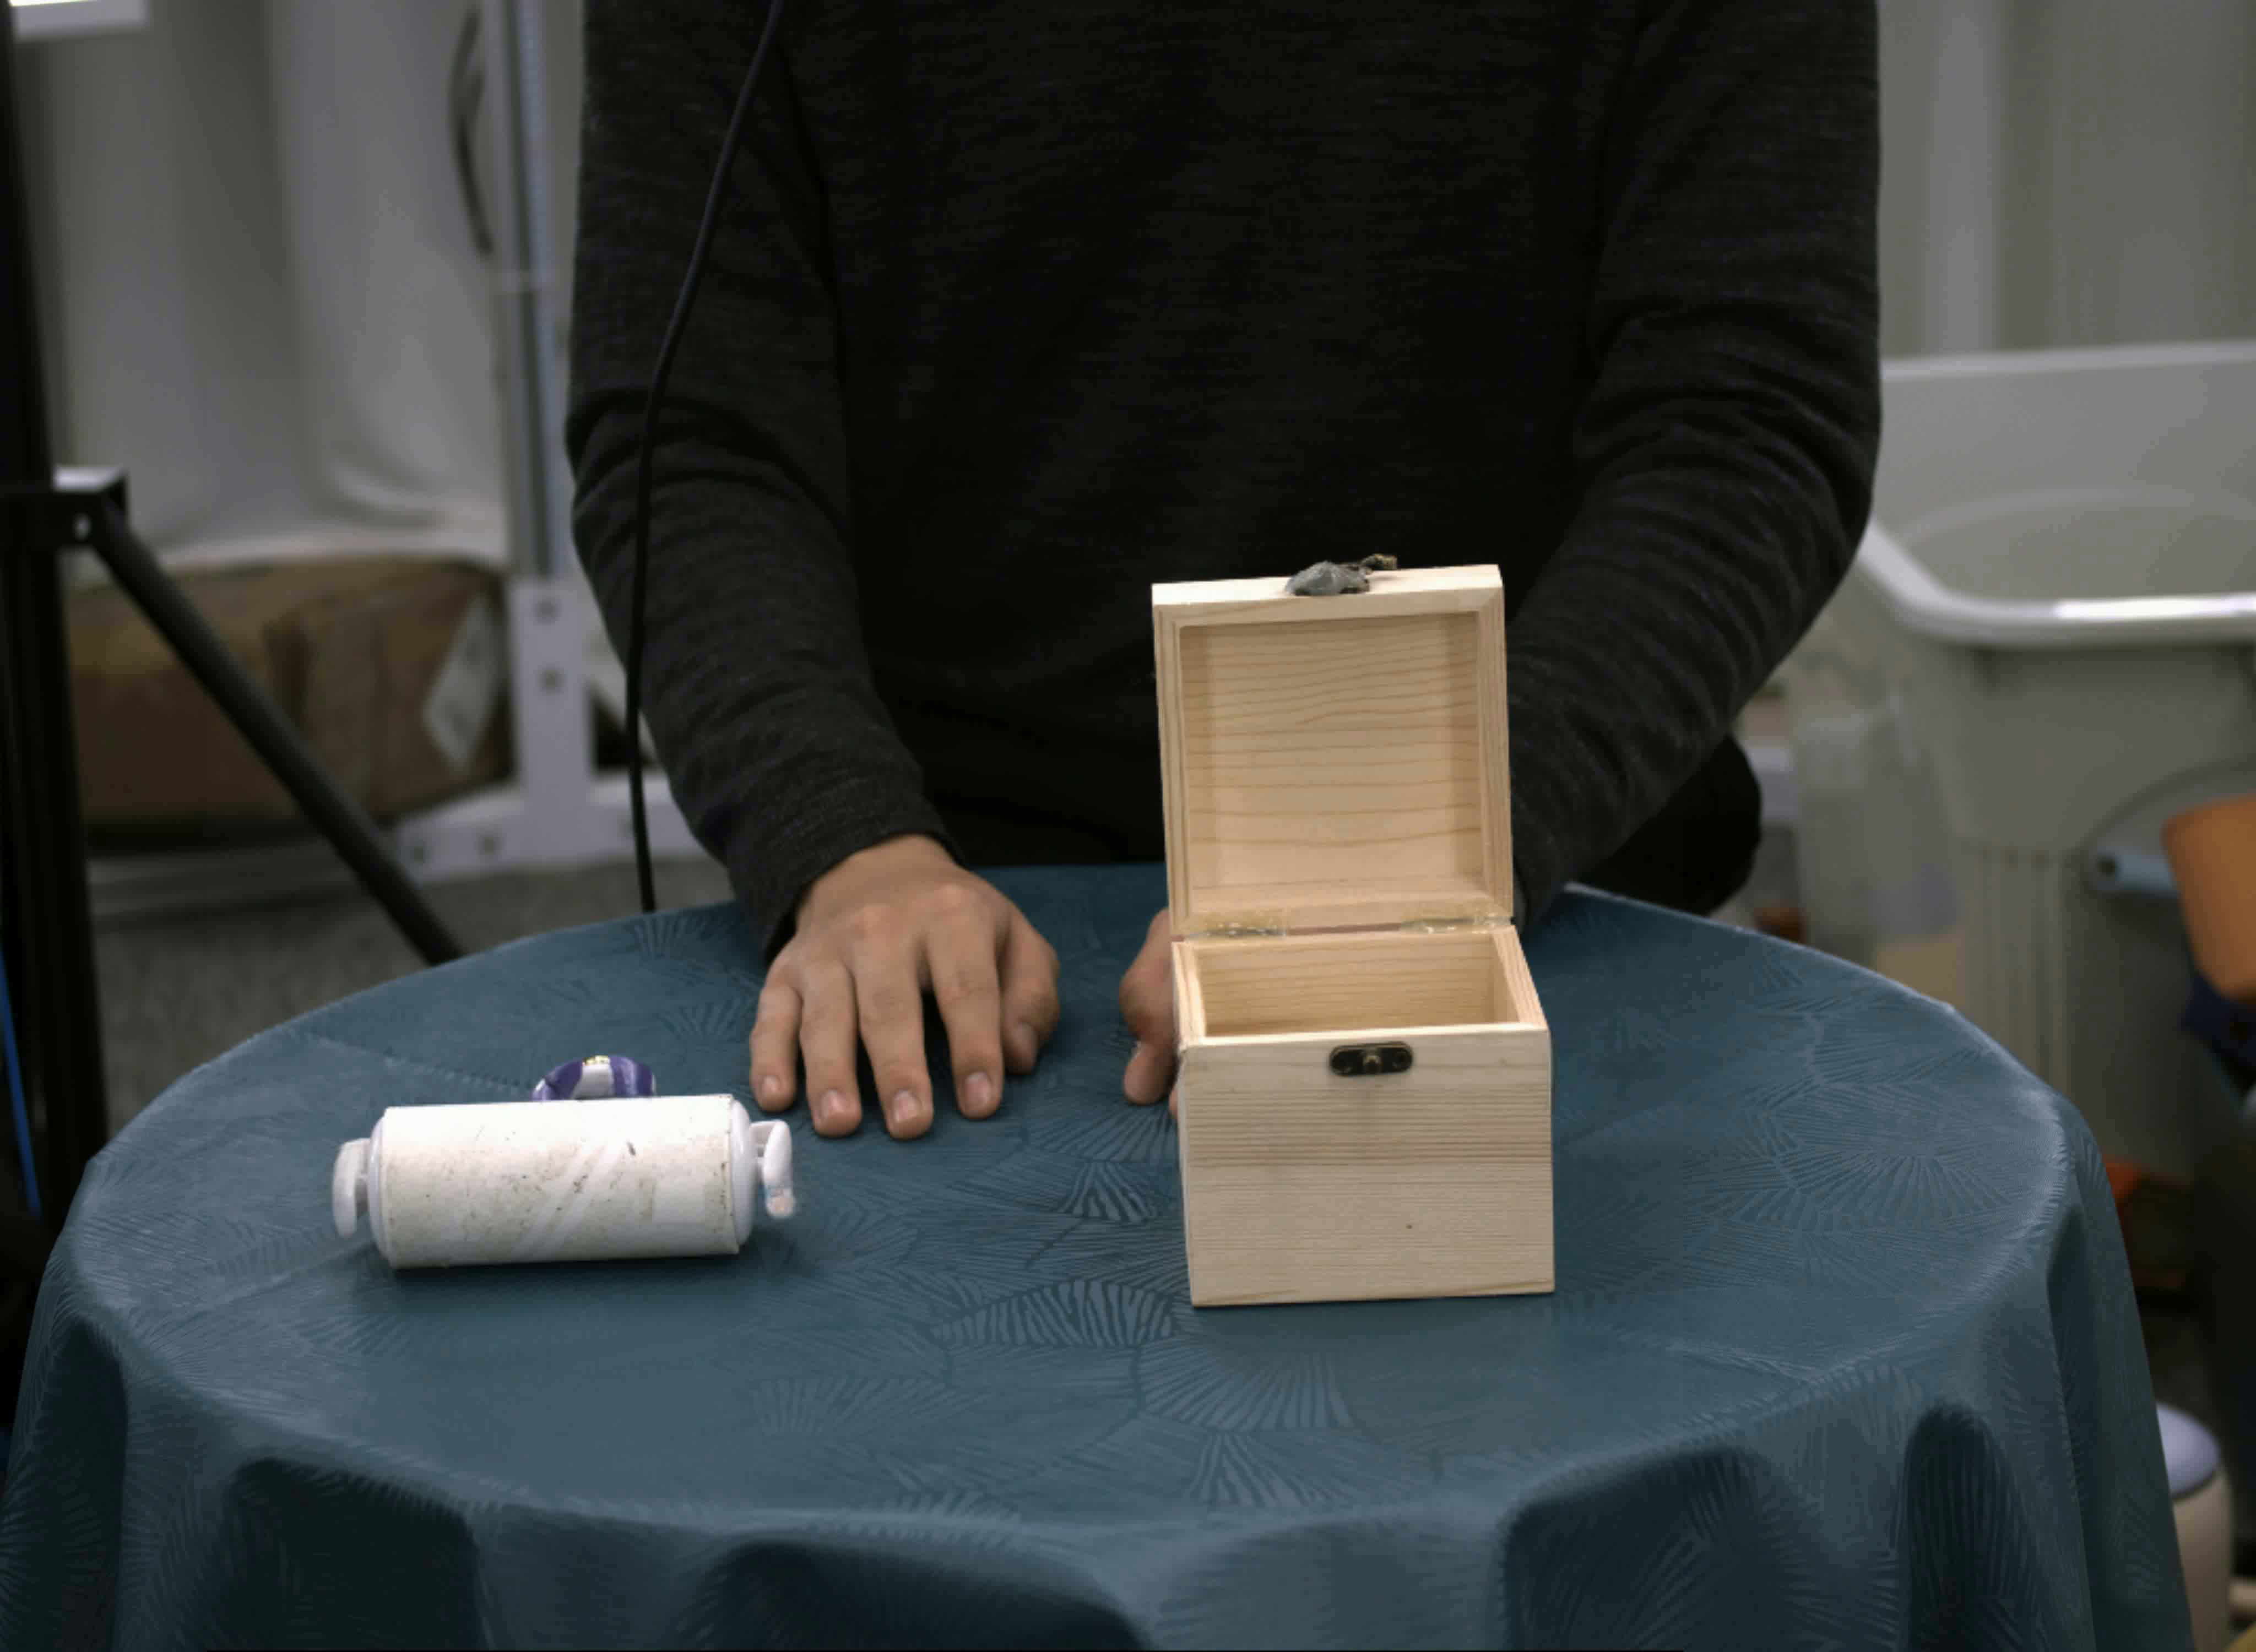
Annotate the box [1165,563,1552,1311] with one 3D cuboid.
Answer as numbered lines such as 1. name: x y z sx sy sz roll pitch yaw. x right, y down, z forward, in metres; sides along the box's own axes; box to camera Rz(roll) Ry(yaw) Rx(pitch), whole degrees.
1. box: 0.064 0.028 1.493 0.102 0.184 0.134 -2 14 0

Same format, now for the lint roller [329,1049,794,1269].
1. lint roller: -0.161 0.083 1.586 0.132 0.050 0.181 -3 18 2
